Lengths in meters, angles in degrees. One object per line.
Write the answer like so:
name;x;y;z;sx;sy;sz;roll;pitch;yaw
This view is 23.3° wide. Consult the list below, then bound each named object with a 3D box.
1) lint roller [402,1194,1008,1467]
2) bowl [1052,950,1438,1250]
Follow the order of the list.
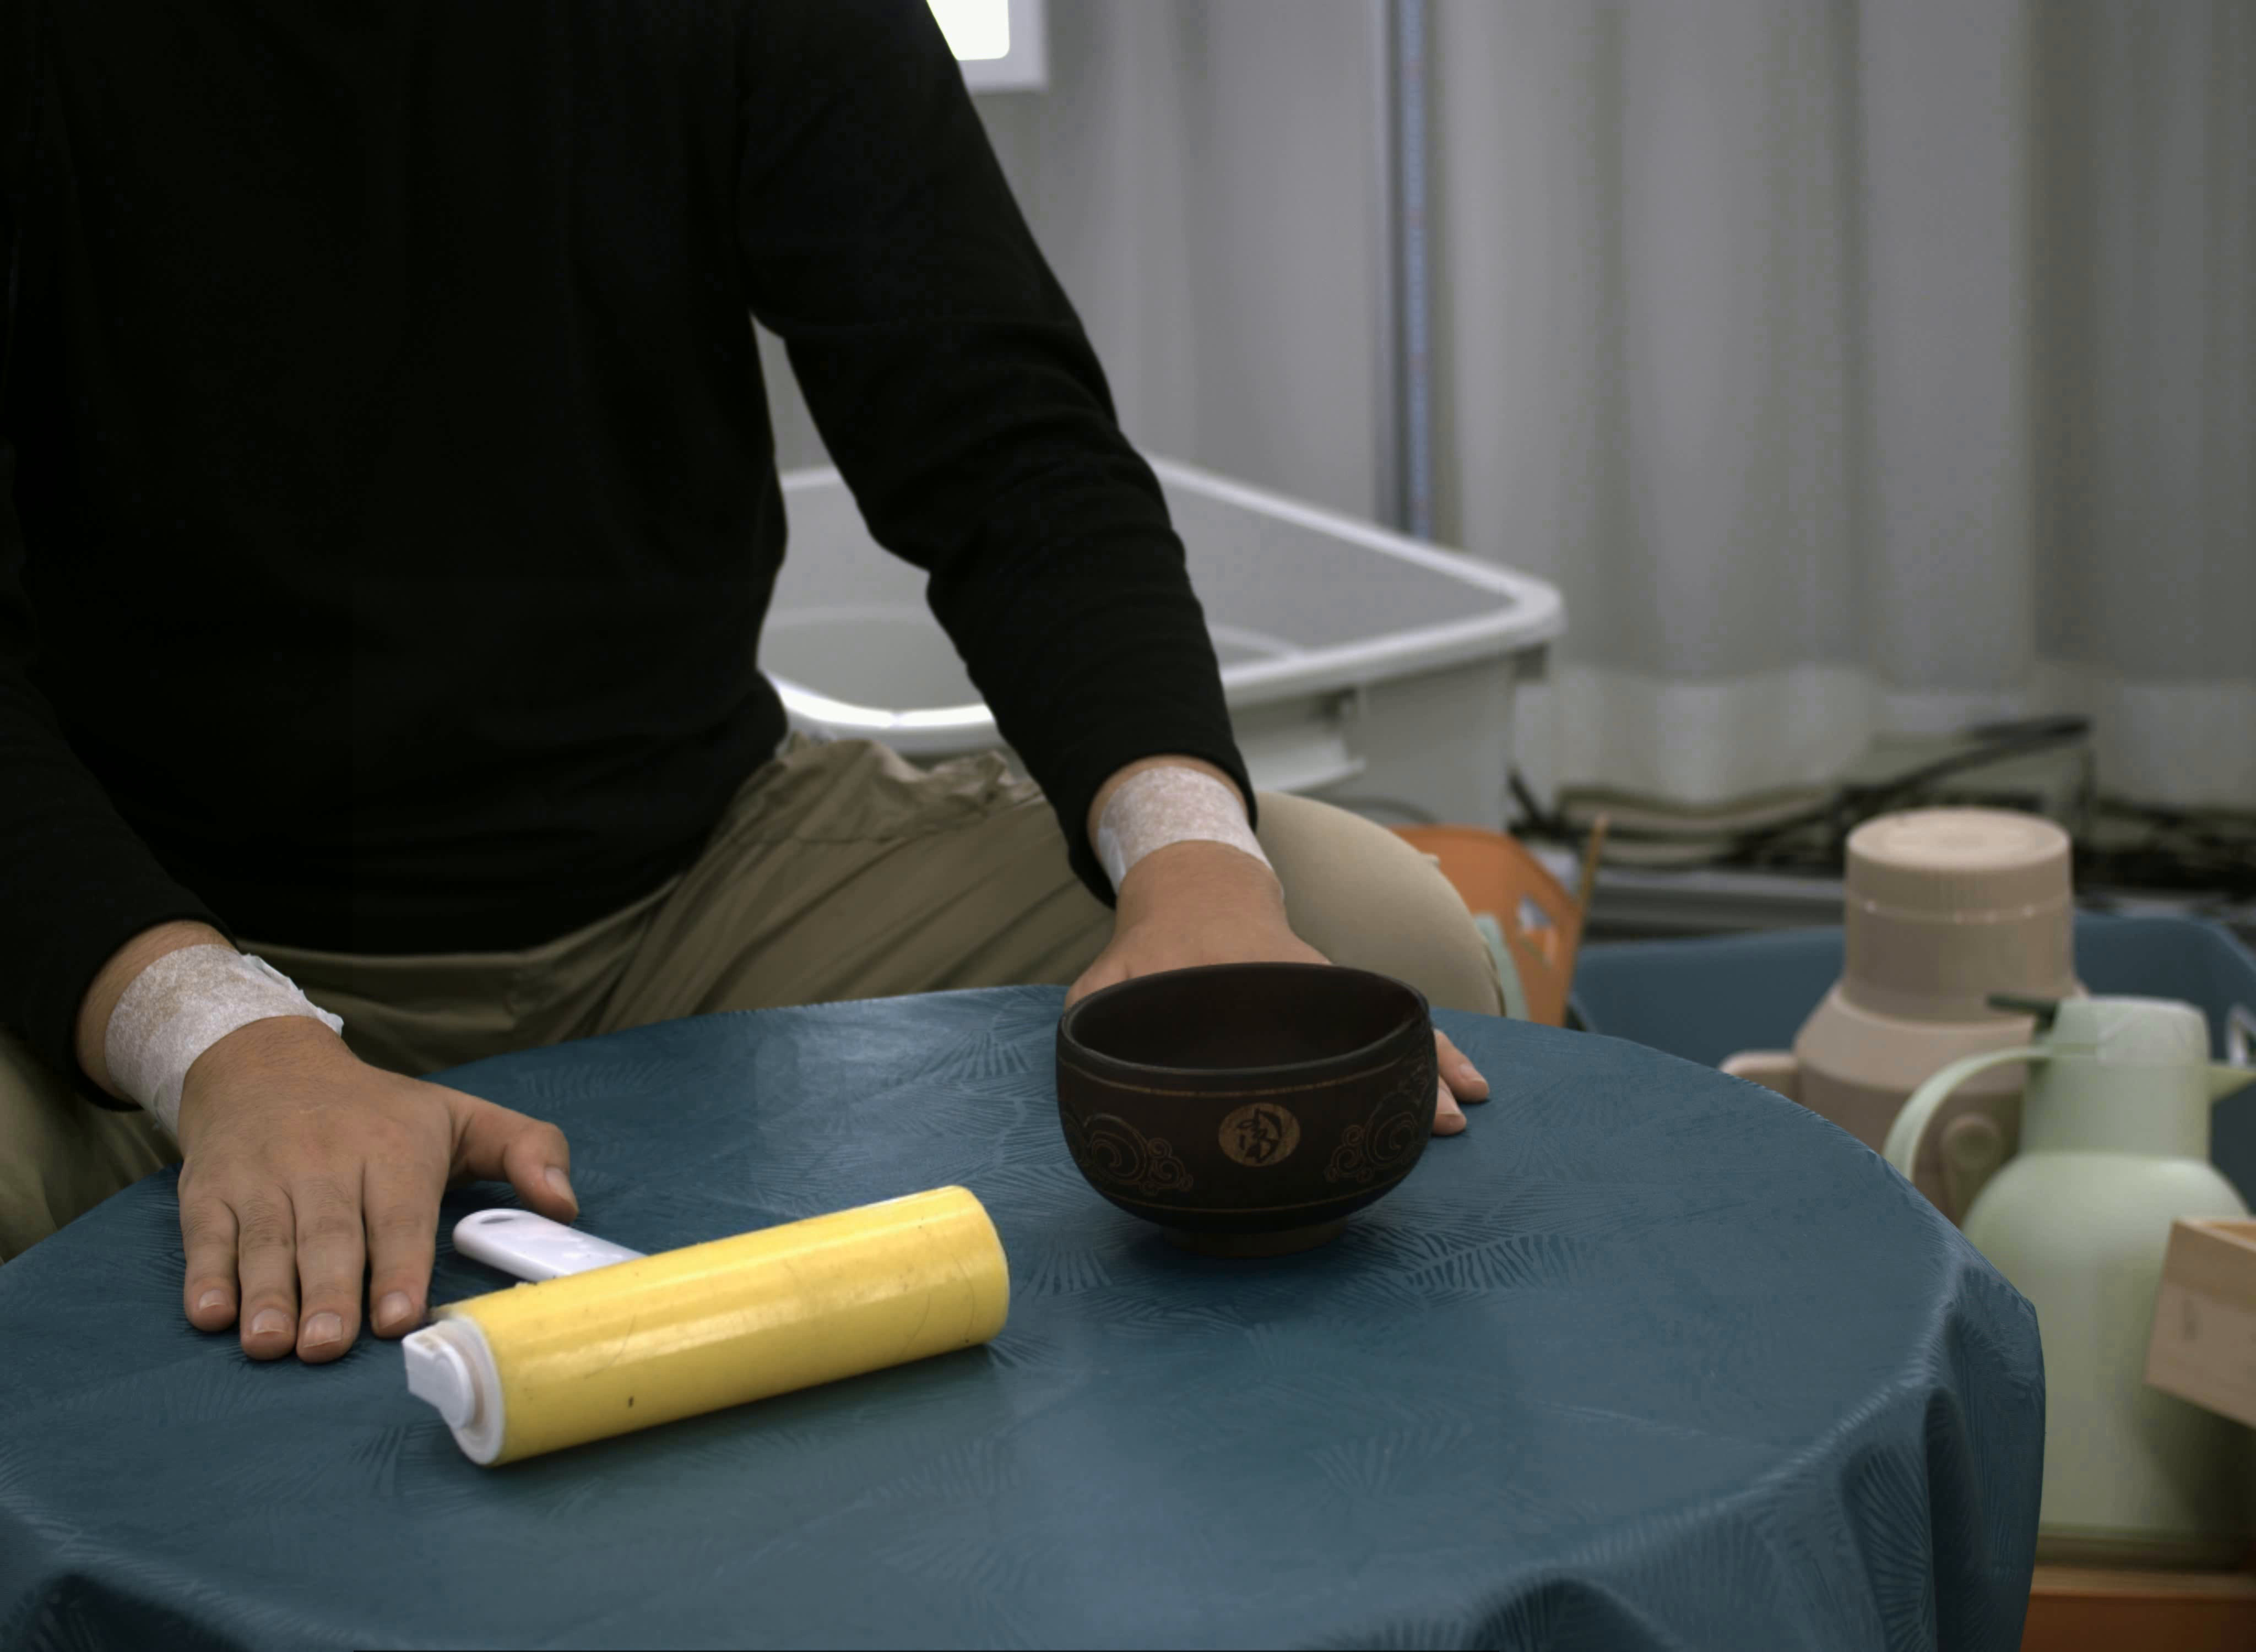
lint roller;-0.153;0.125;1.605;0.173;0.051;0.194;-11;22;-31
bowl;0.036;0.087;1.665;0.117;0.069;0.119;-2;15;0
